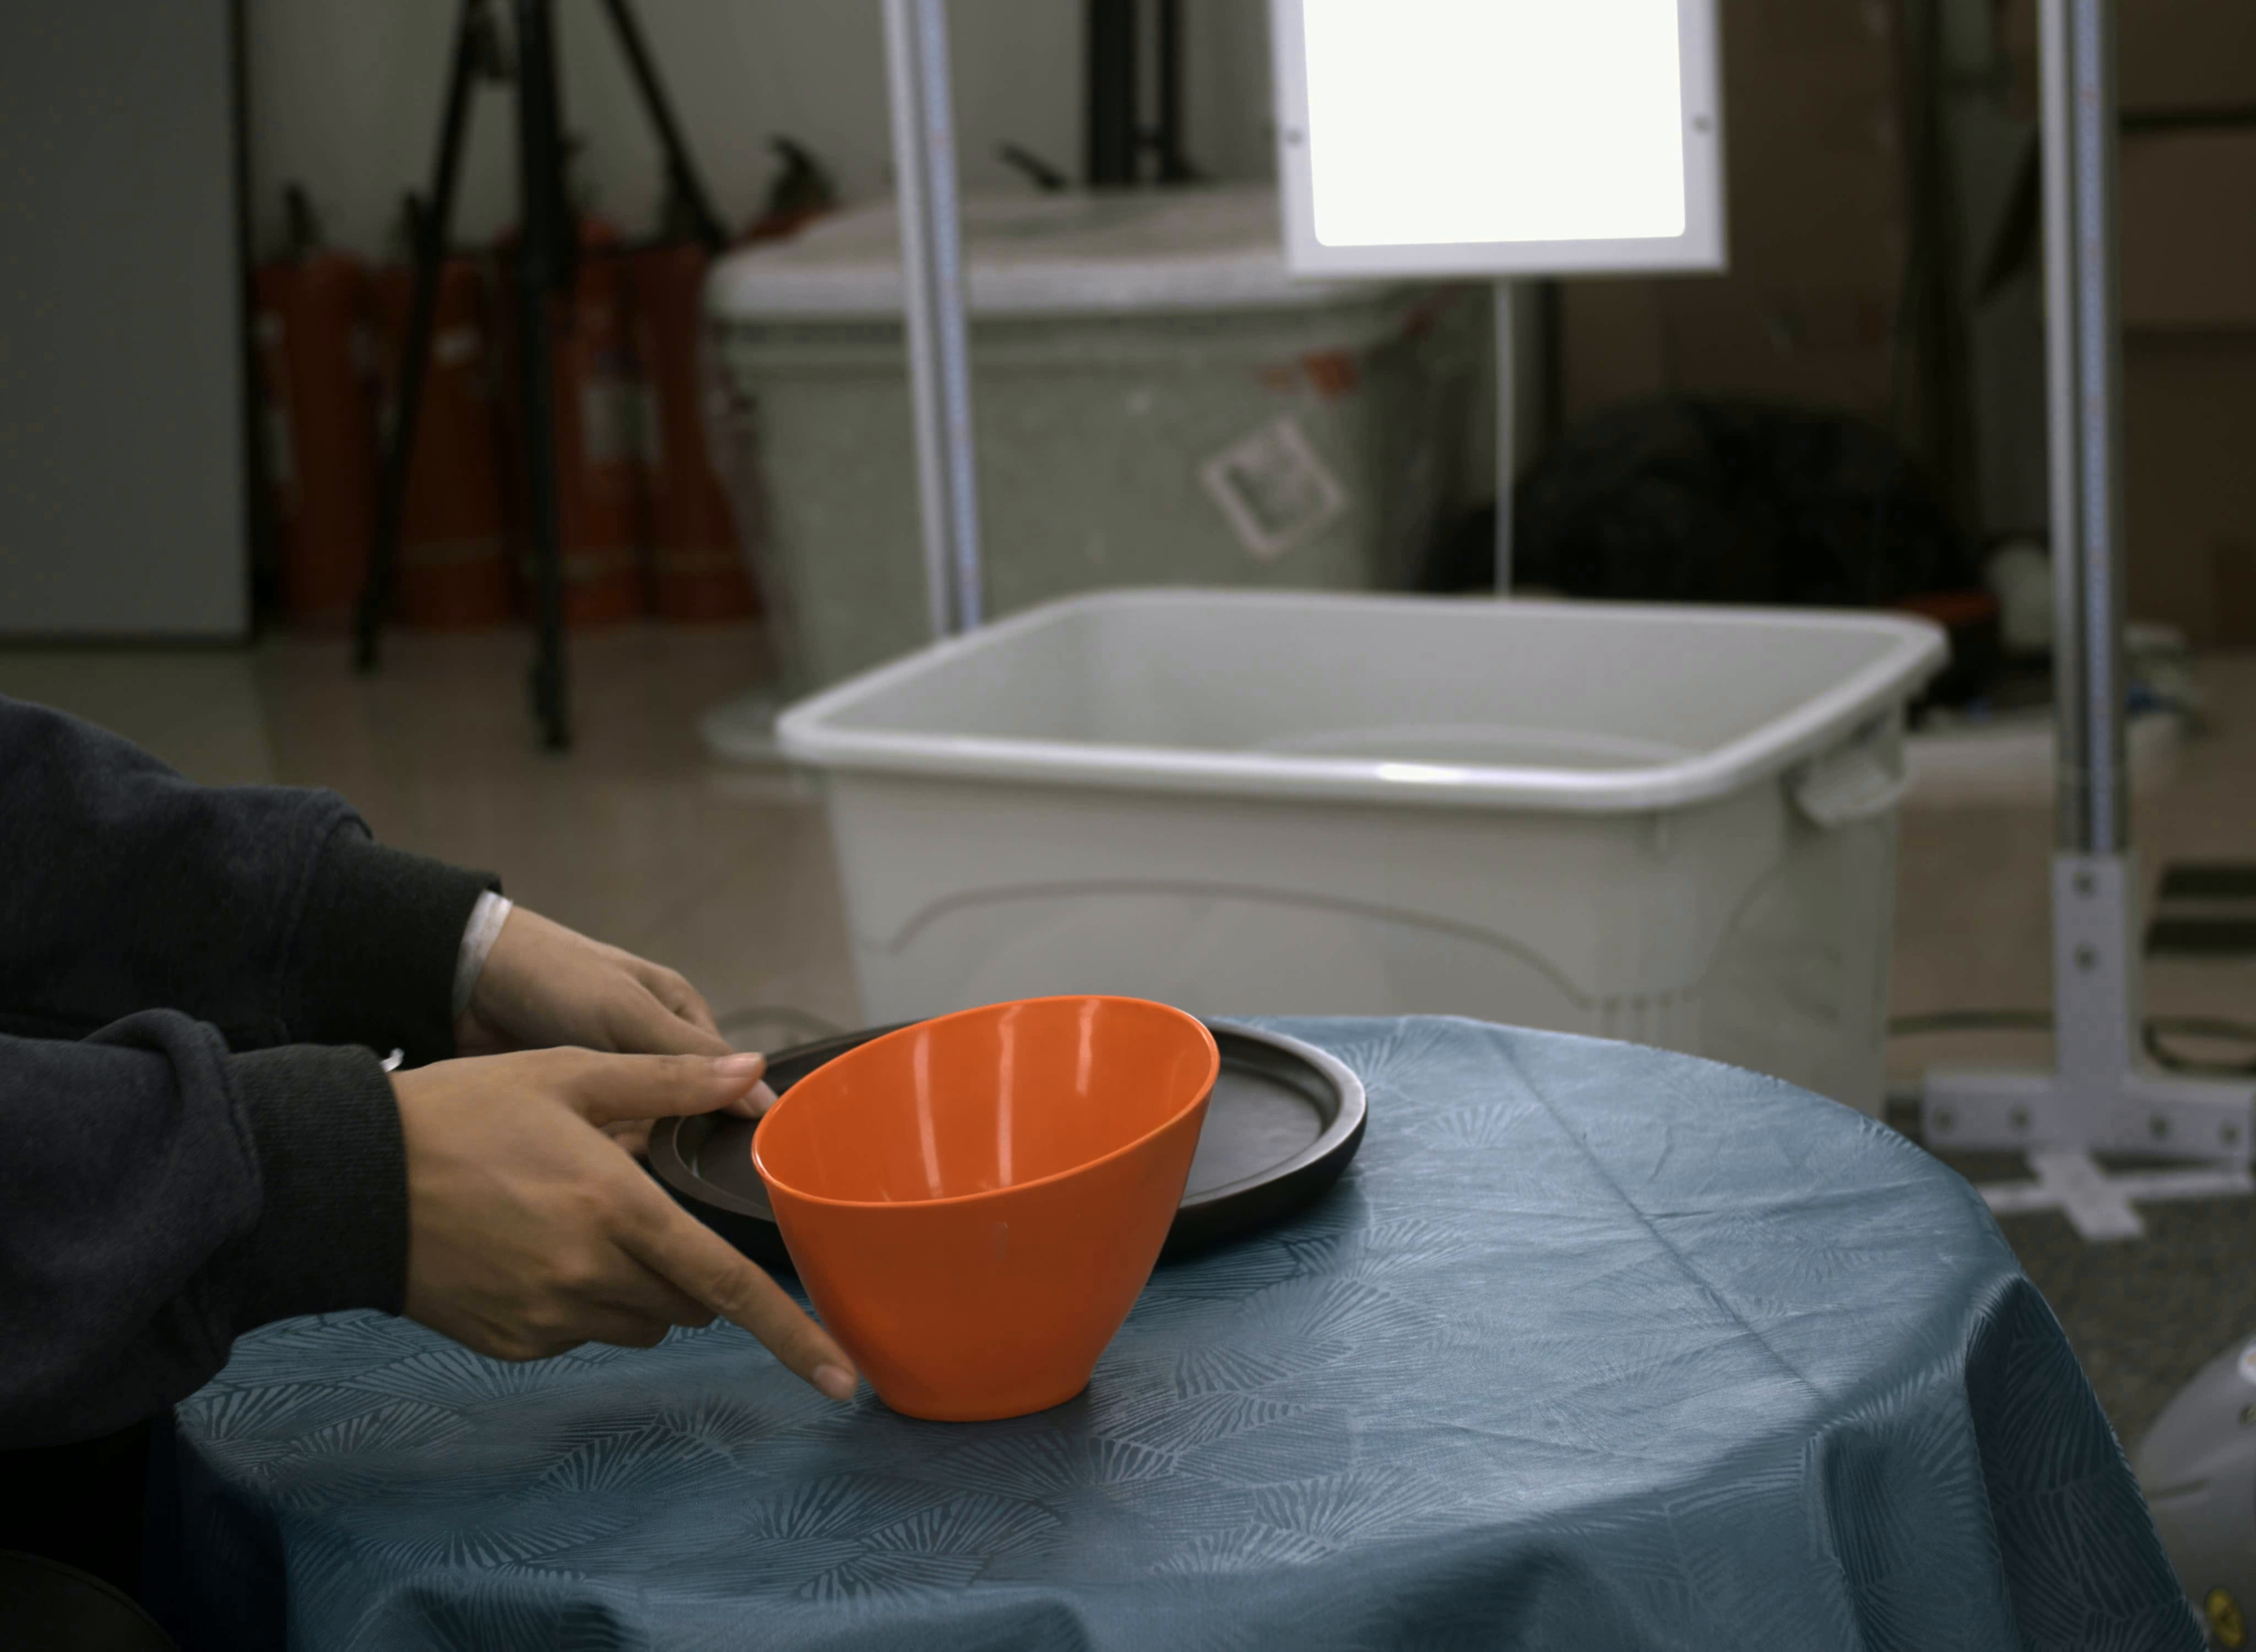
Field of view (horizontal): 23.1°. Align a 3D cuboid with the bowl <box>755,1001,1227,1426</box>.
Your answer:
[{"bbox_3d":[-0.040,0.124,1.711,0.147,0.105,0.148,-3,15,-1],"label":"bowl"}]

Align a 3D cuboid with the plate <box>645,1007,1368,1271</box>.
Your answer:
[{"bbox_3d":[-0.042,0.111,1.919,0.254,0.029,0.254,-4,16,0],"label":"plate"}]
